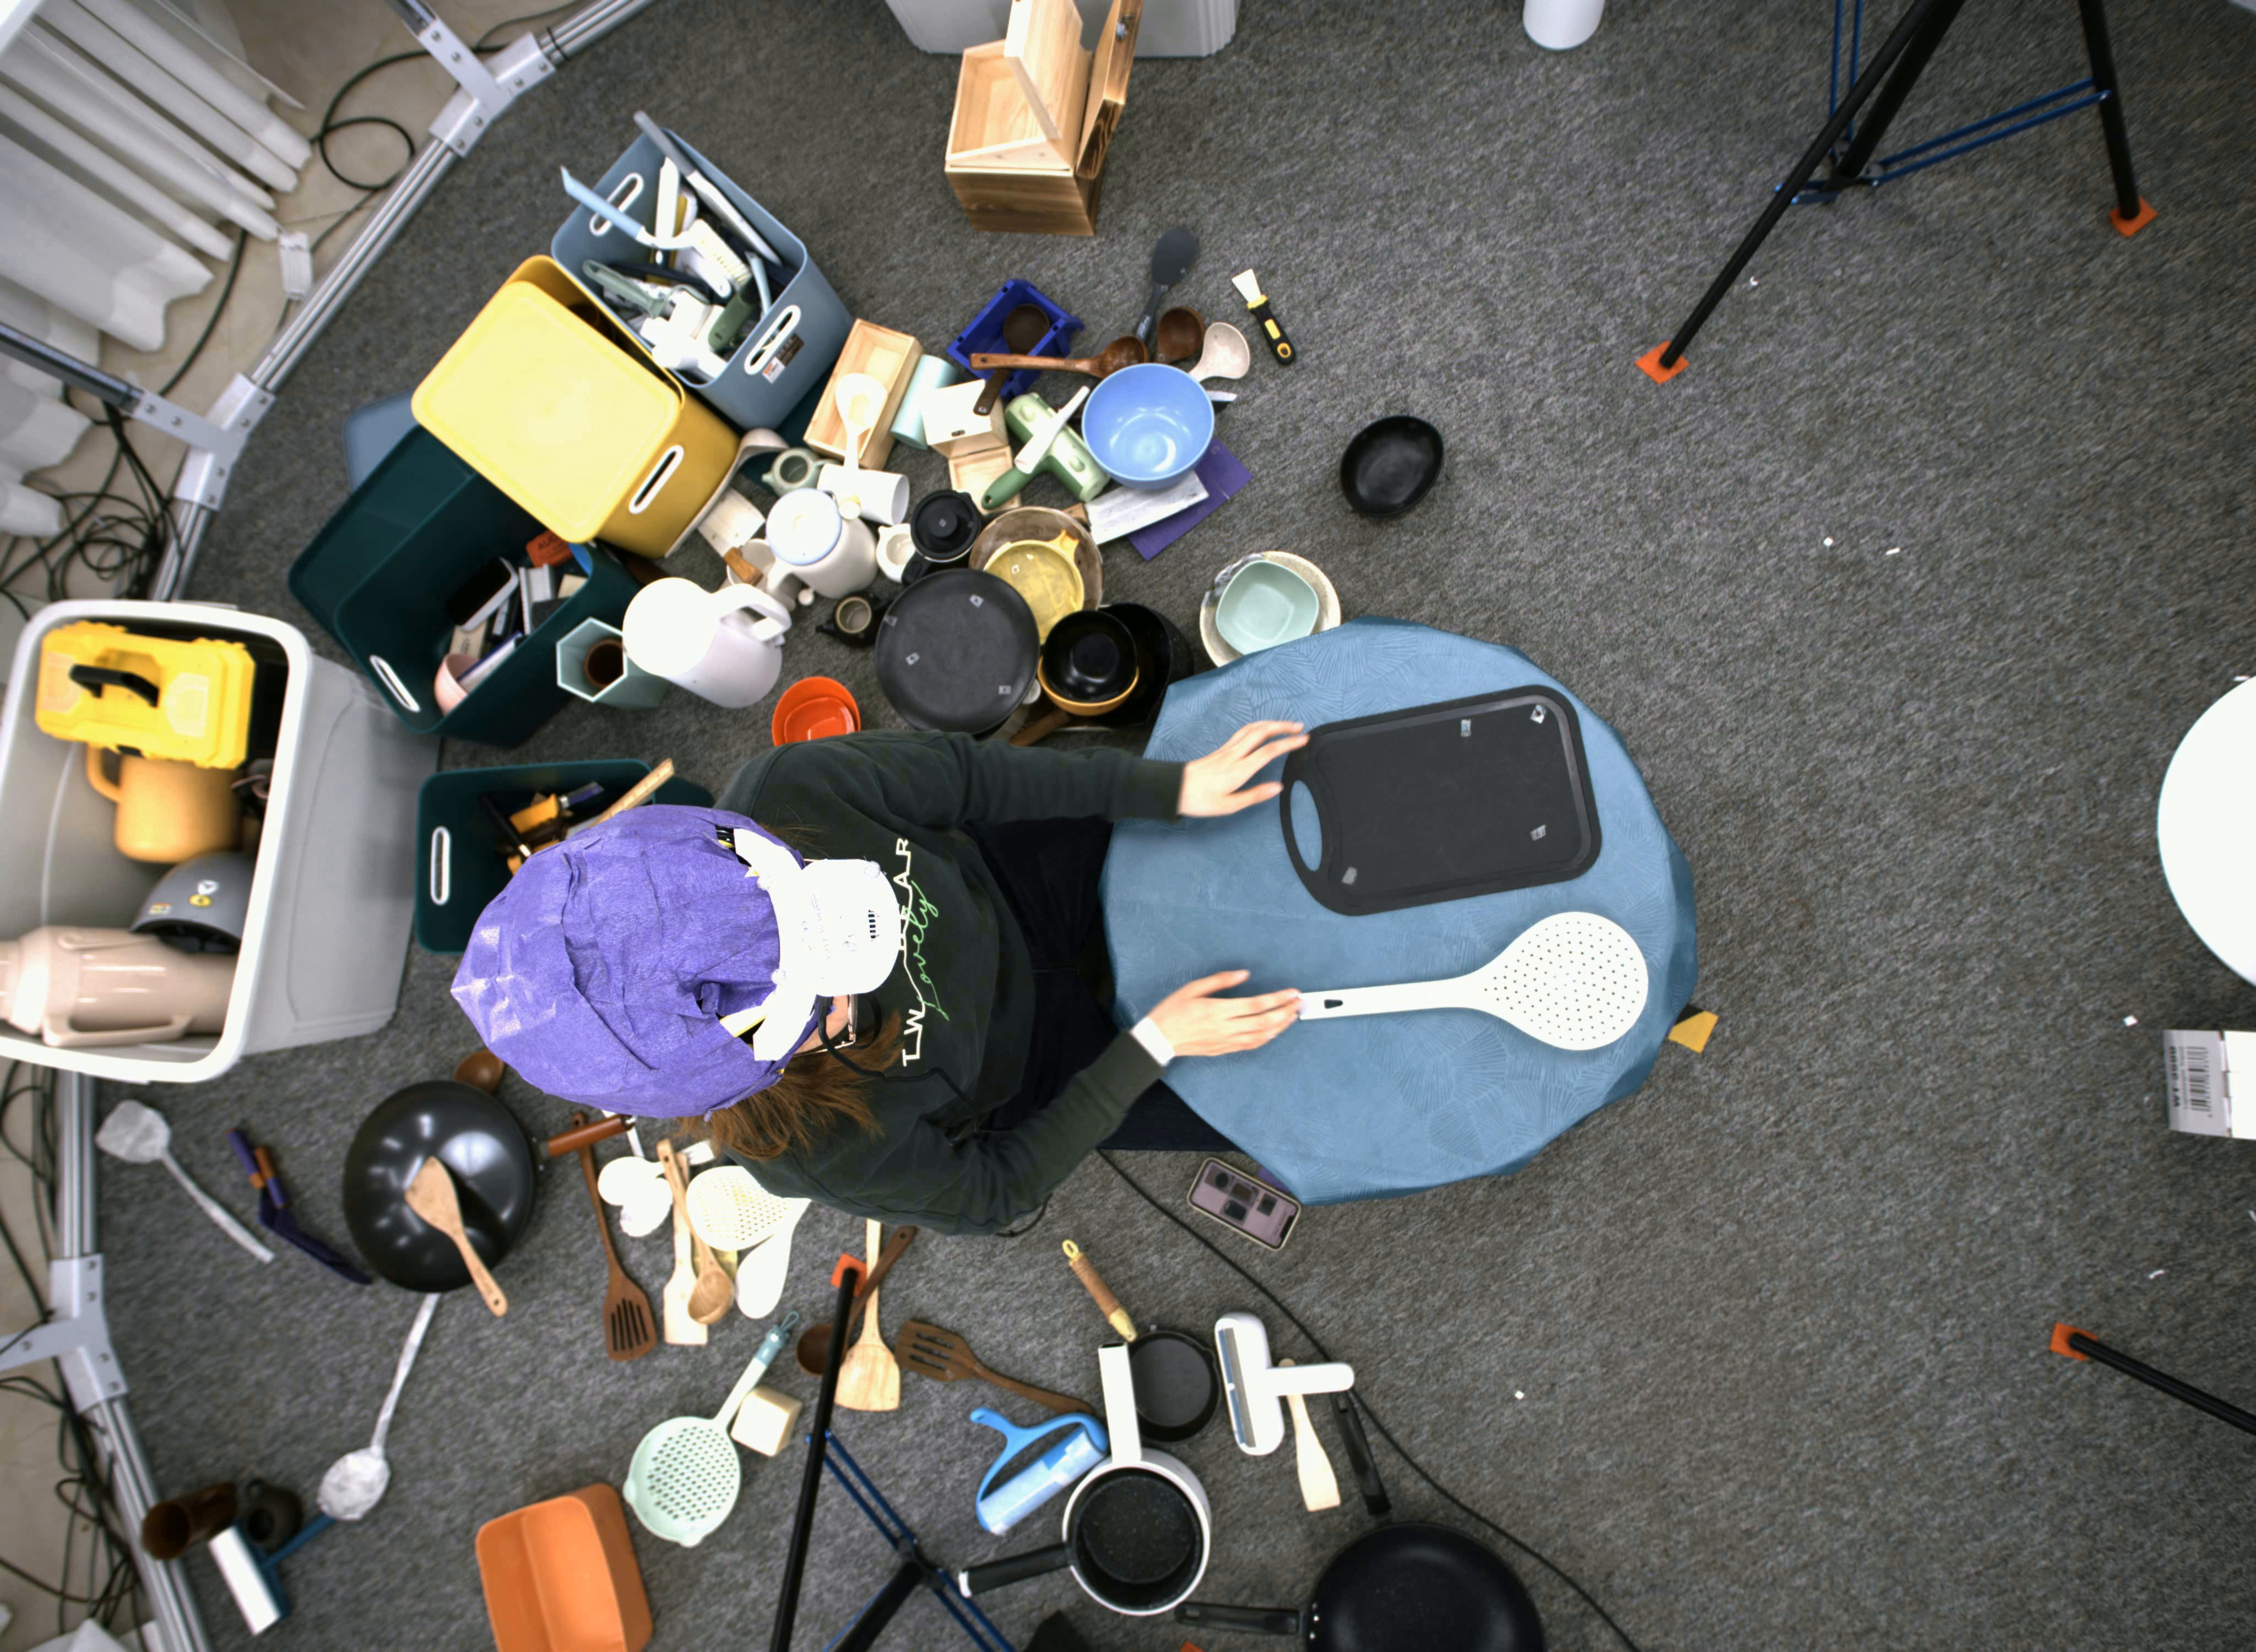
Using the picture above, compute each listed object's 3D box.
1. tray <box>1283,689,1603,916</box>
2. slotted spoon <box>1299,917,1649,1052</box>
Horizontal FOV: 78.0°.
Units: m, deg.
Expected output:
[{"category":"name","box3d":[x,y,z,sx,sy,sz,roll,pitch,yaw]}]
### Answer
[{"category":"tray","box3d":[0.327,-0.024,1.457,0.327,0.010,0.210,-10,84,10]},{"category":"slotted spoon","box3d":[0.351,0.171,1.420,0.351,0.046,0.135,-6,83,11]}]
